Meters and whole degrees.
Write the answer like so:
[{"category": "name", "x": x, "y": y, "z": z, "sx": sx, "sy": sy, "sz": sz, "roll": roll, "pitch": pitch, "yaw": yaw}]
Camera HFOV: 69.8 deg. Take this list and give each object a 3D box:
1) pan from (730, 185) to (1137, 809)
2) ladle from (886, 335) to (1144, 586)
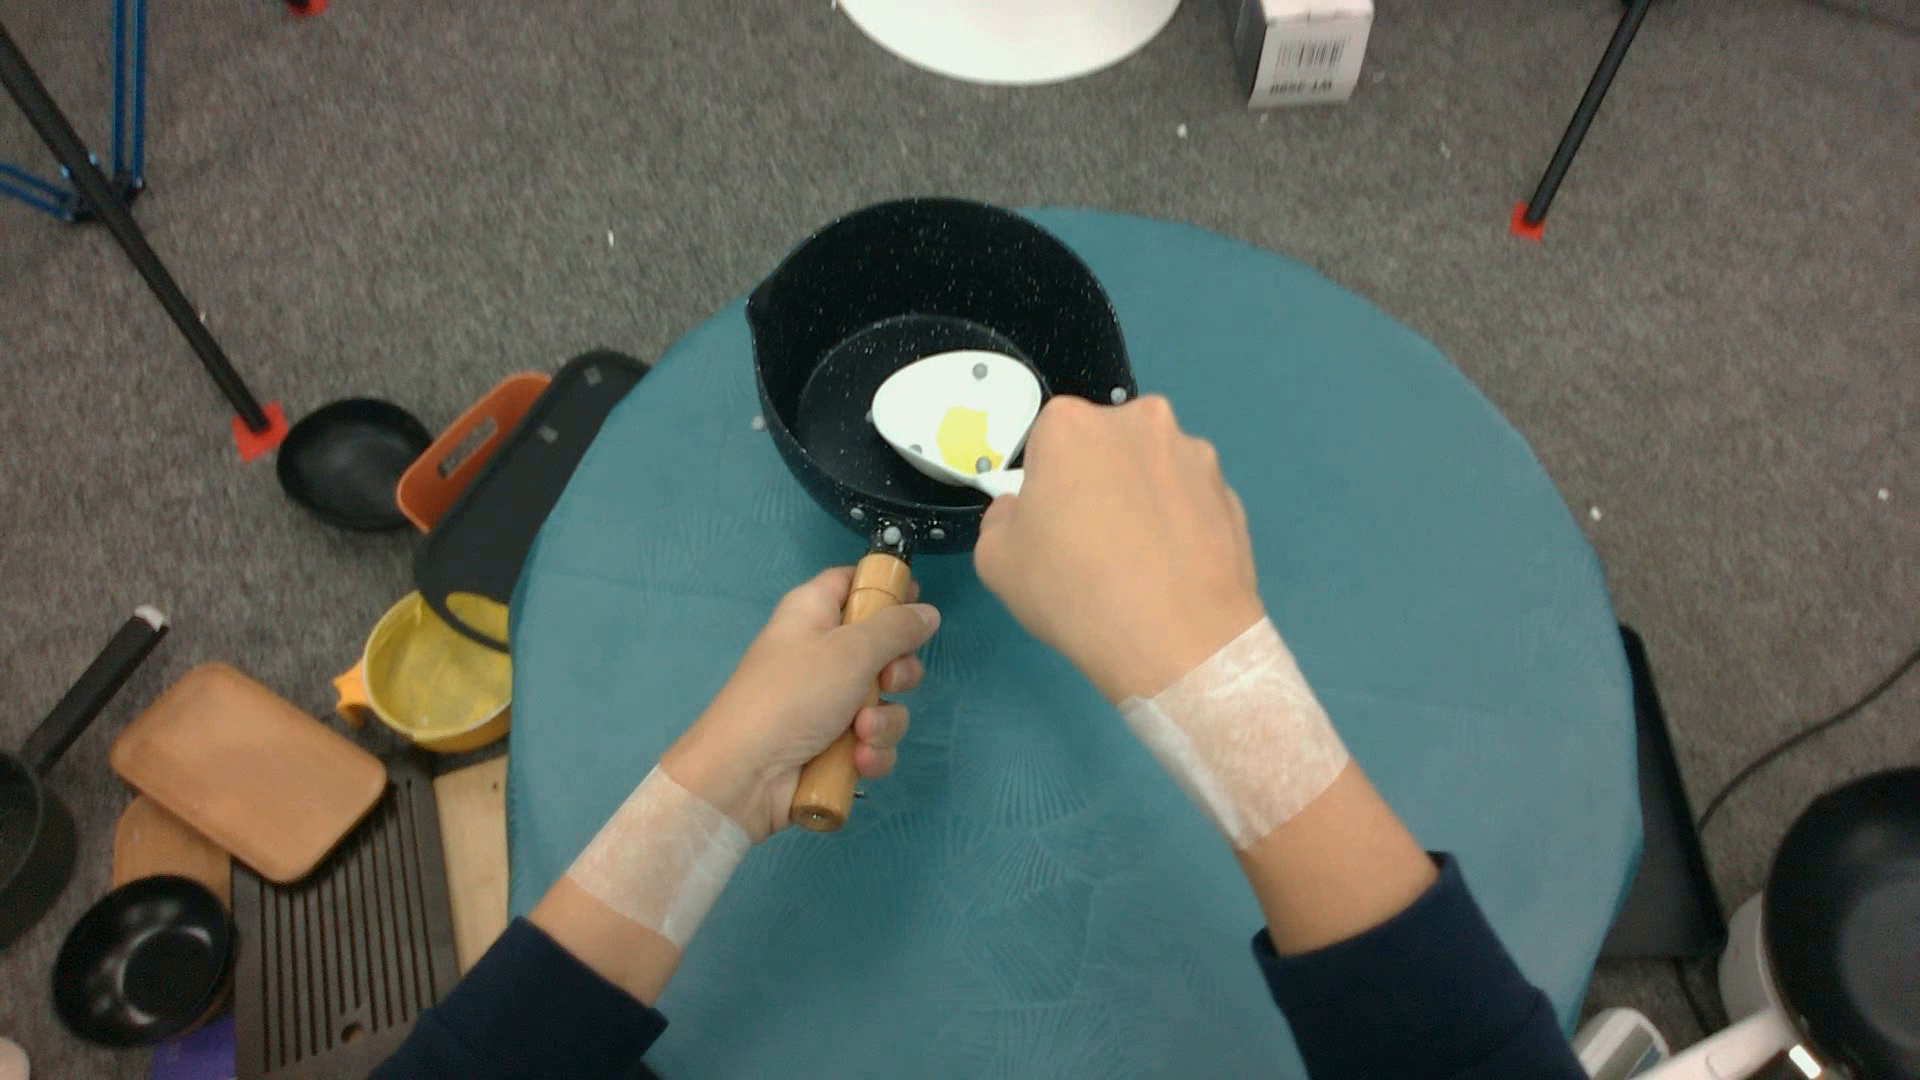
[{"category": "pan", "x": -0.028, "y": -0.021, "z": 0.669, "sx": 0.207, "sy": 0.108, "sz": 0.344, "roll": 12, "pitch": 61, "yaw": -1}, {"category": "ladle", "x": 0.025, "y": -0.048, "z": 0.616, "sx": 0.090, "sy": 0.293, "sz": 0.070, "roll": -3, "pitch": 103, "yaw": -9}]
